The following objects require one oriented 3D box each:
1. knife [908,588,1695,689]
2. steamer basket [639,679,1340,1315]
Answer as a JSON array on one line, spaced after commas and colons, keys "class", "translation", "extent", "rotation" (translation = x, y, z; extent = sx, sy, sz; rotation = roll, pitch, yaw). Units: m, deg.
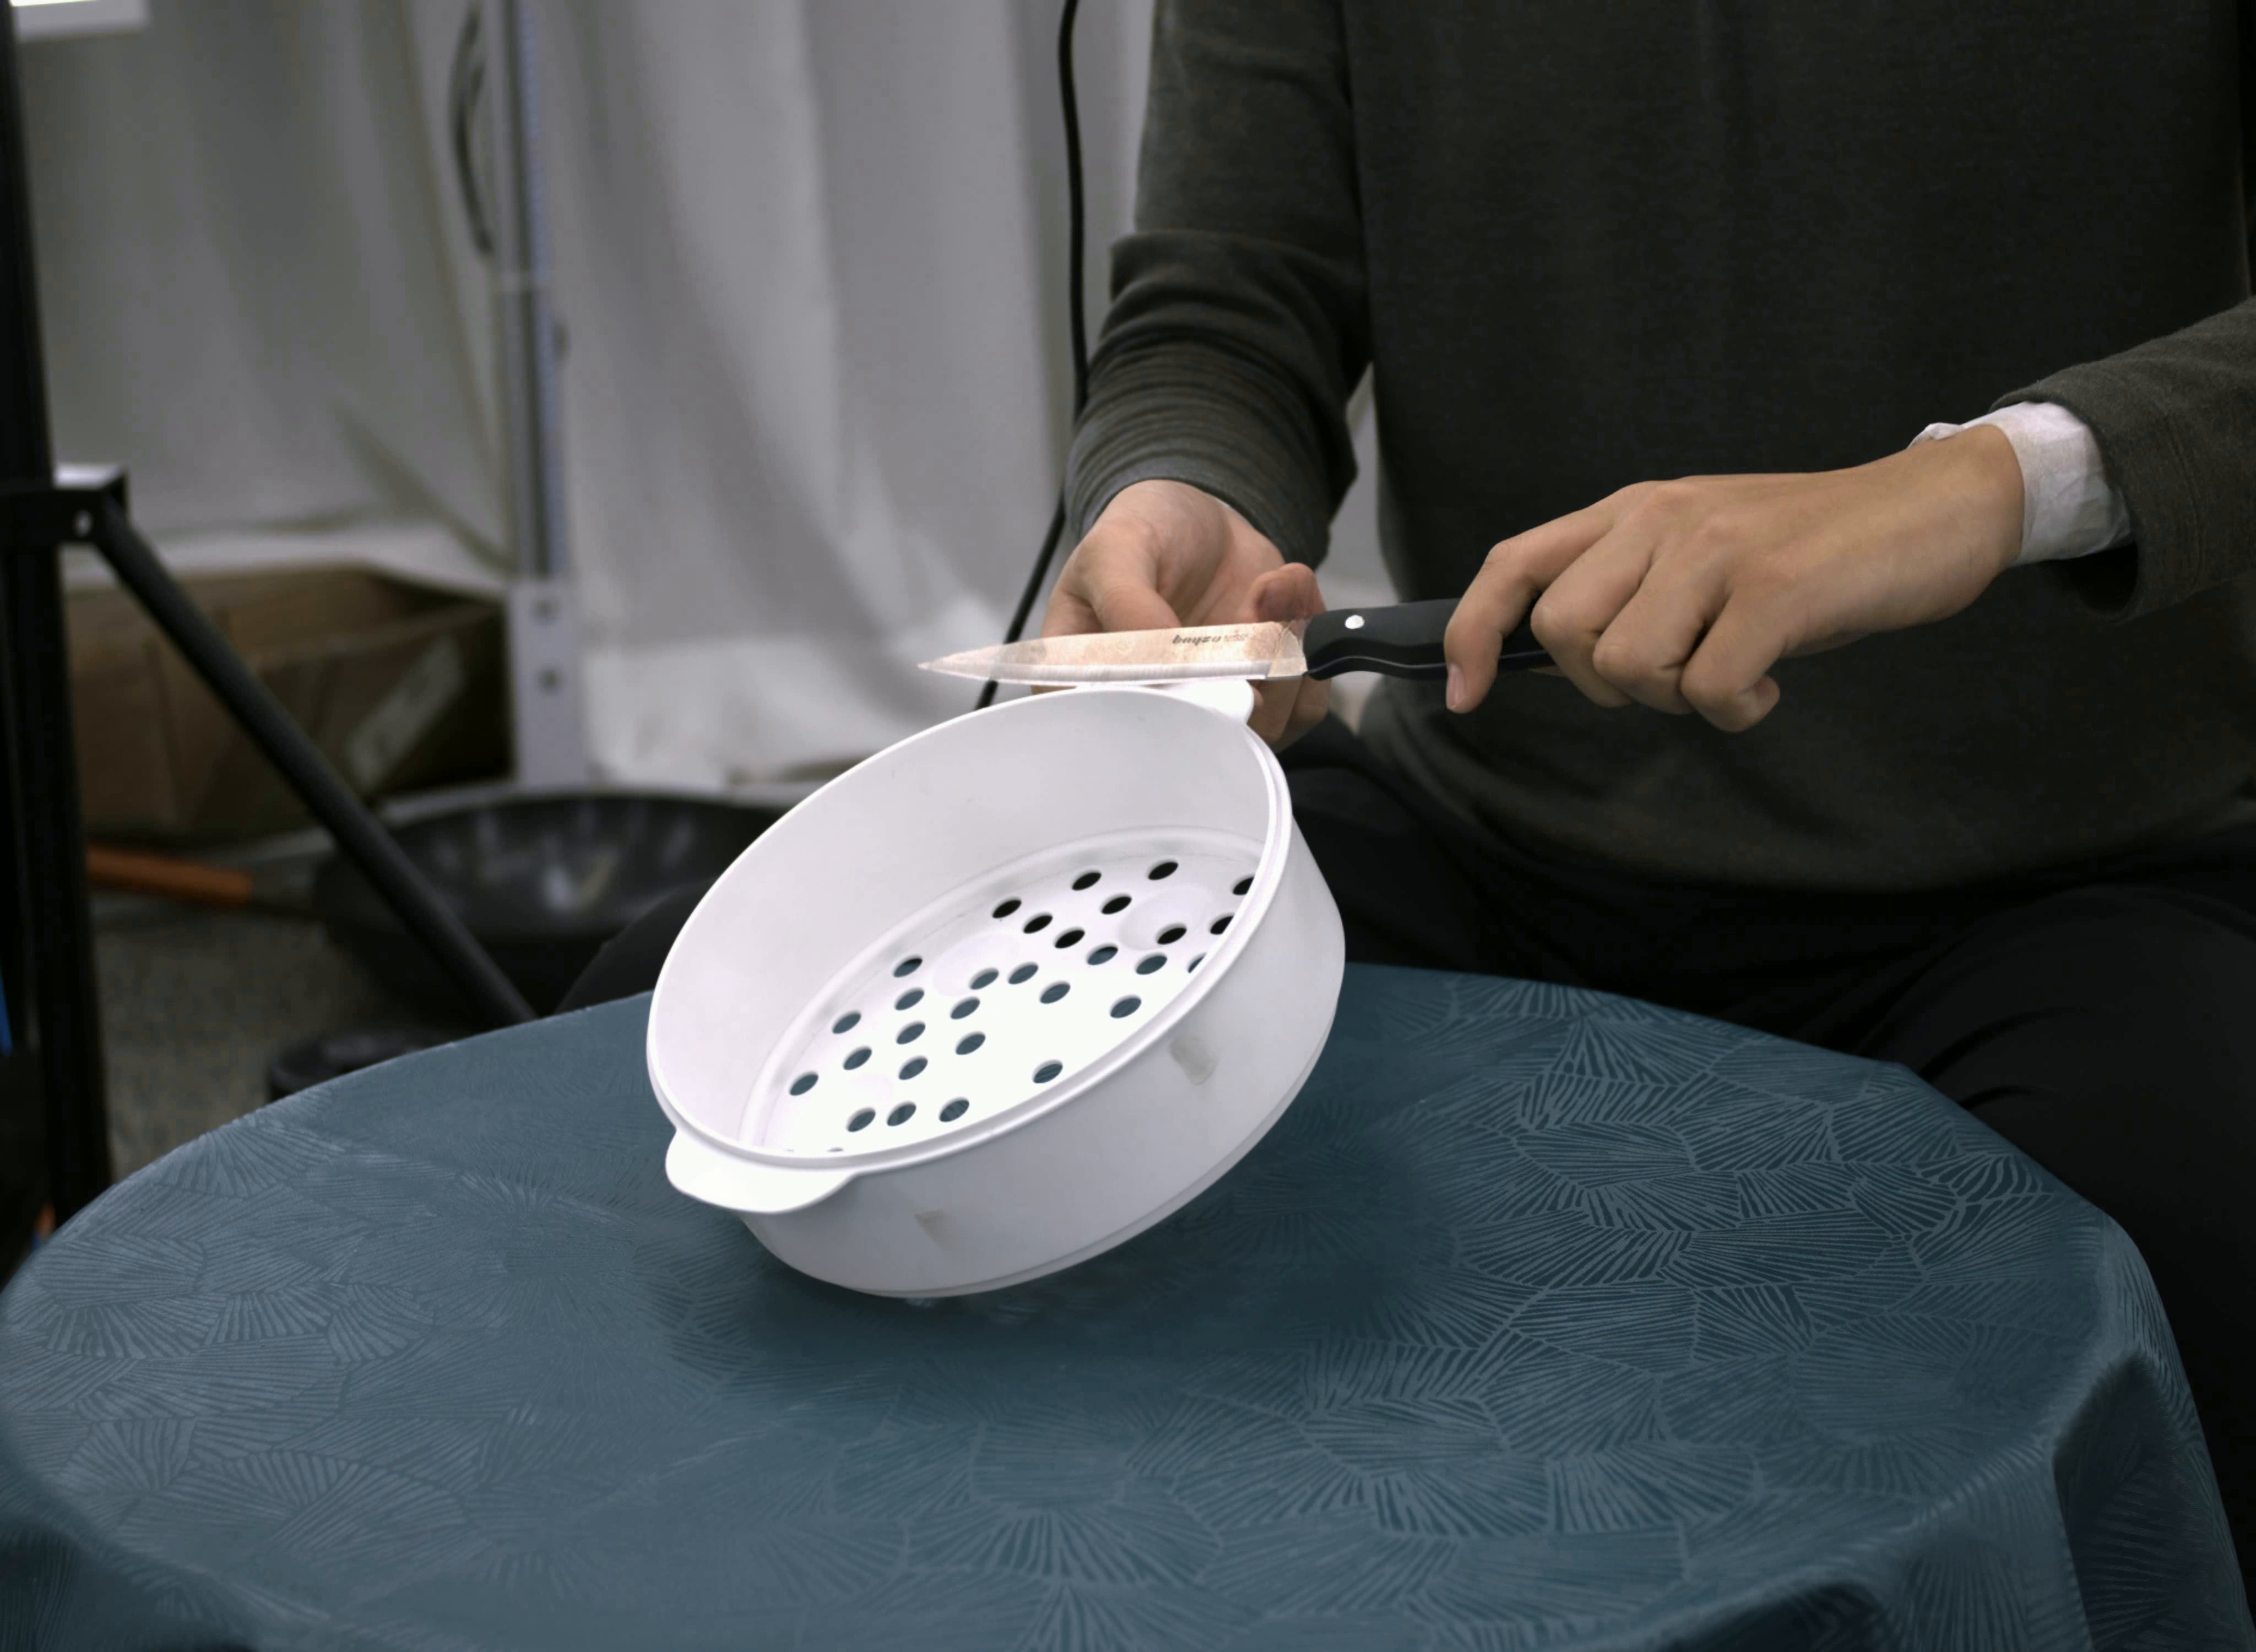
[{"class": "knife", "translation": [0.046, -0.051, 1.498], "extent": [0.241, 0.016, 0.024], "rotation": [-3, 43, 25]}, {"class": "steamer basket", "translation": [-0.037, 0.053, 1.520], "extent": [0.206, 0.068, 0.228], "rotation": [10, 47, 44]}]
